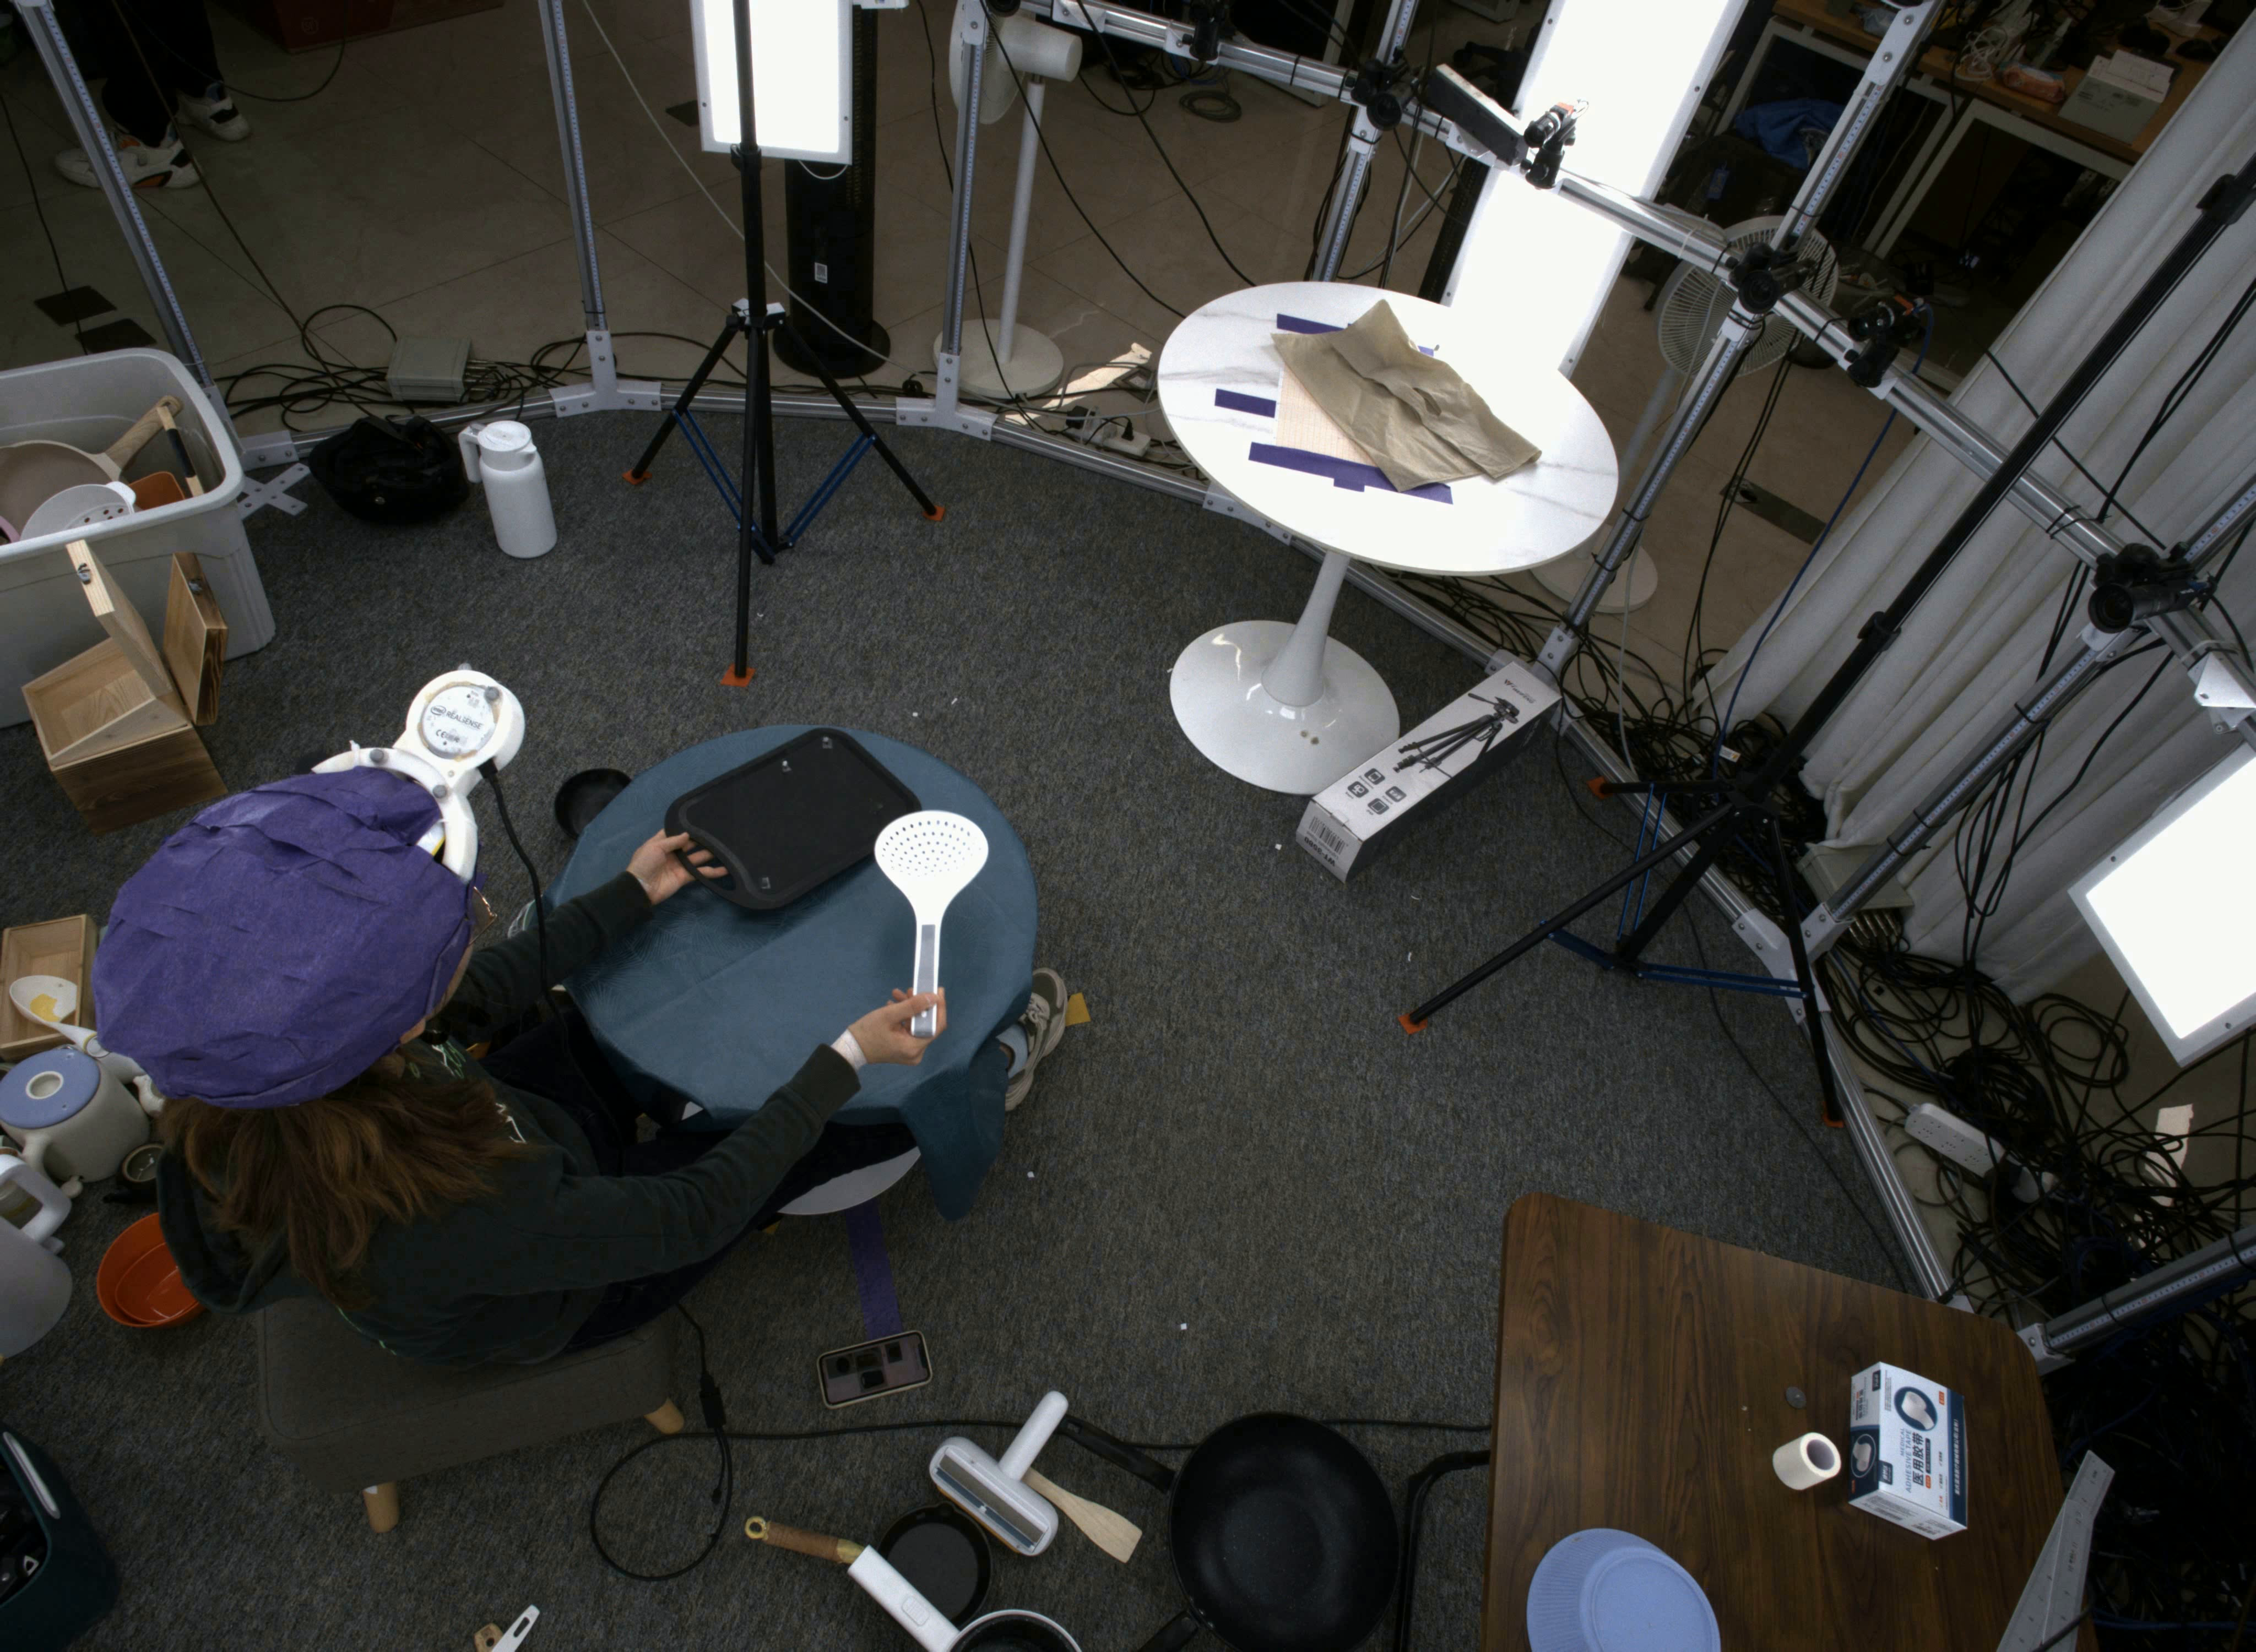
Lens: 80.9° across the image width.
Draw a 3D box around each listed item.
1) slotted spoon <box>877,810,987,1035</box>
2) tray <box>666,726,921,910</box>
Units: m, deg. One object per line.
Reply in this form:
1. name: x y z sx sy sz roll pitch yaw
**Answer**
1. slotted spoon: -0.234 0.103 1.526 0.135 0.047 0.341 1 38 -7
2. tray: -0.439 -0.016 1.699 0.207 0.010 0.326 42 48 12
